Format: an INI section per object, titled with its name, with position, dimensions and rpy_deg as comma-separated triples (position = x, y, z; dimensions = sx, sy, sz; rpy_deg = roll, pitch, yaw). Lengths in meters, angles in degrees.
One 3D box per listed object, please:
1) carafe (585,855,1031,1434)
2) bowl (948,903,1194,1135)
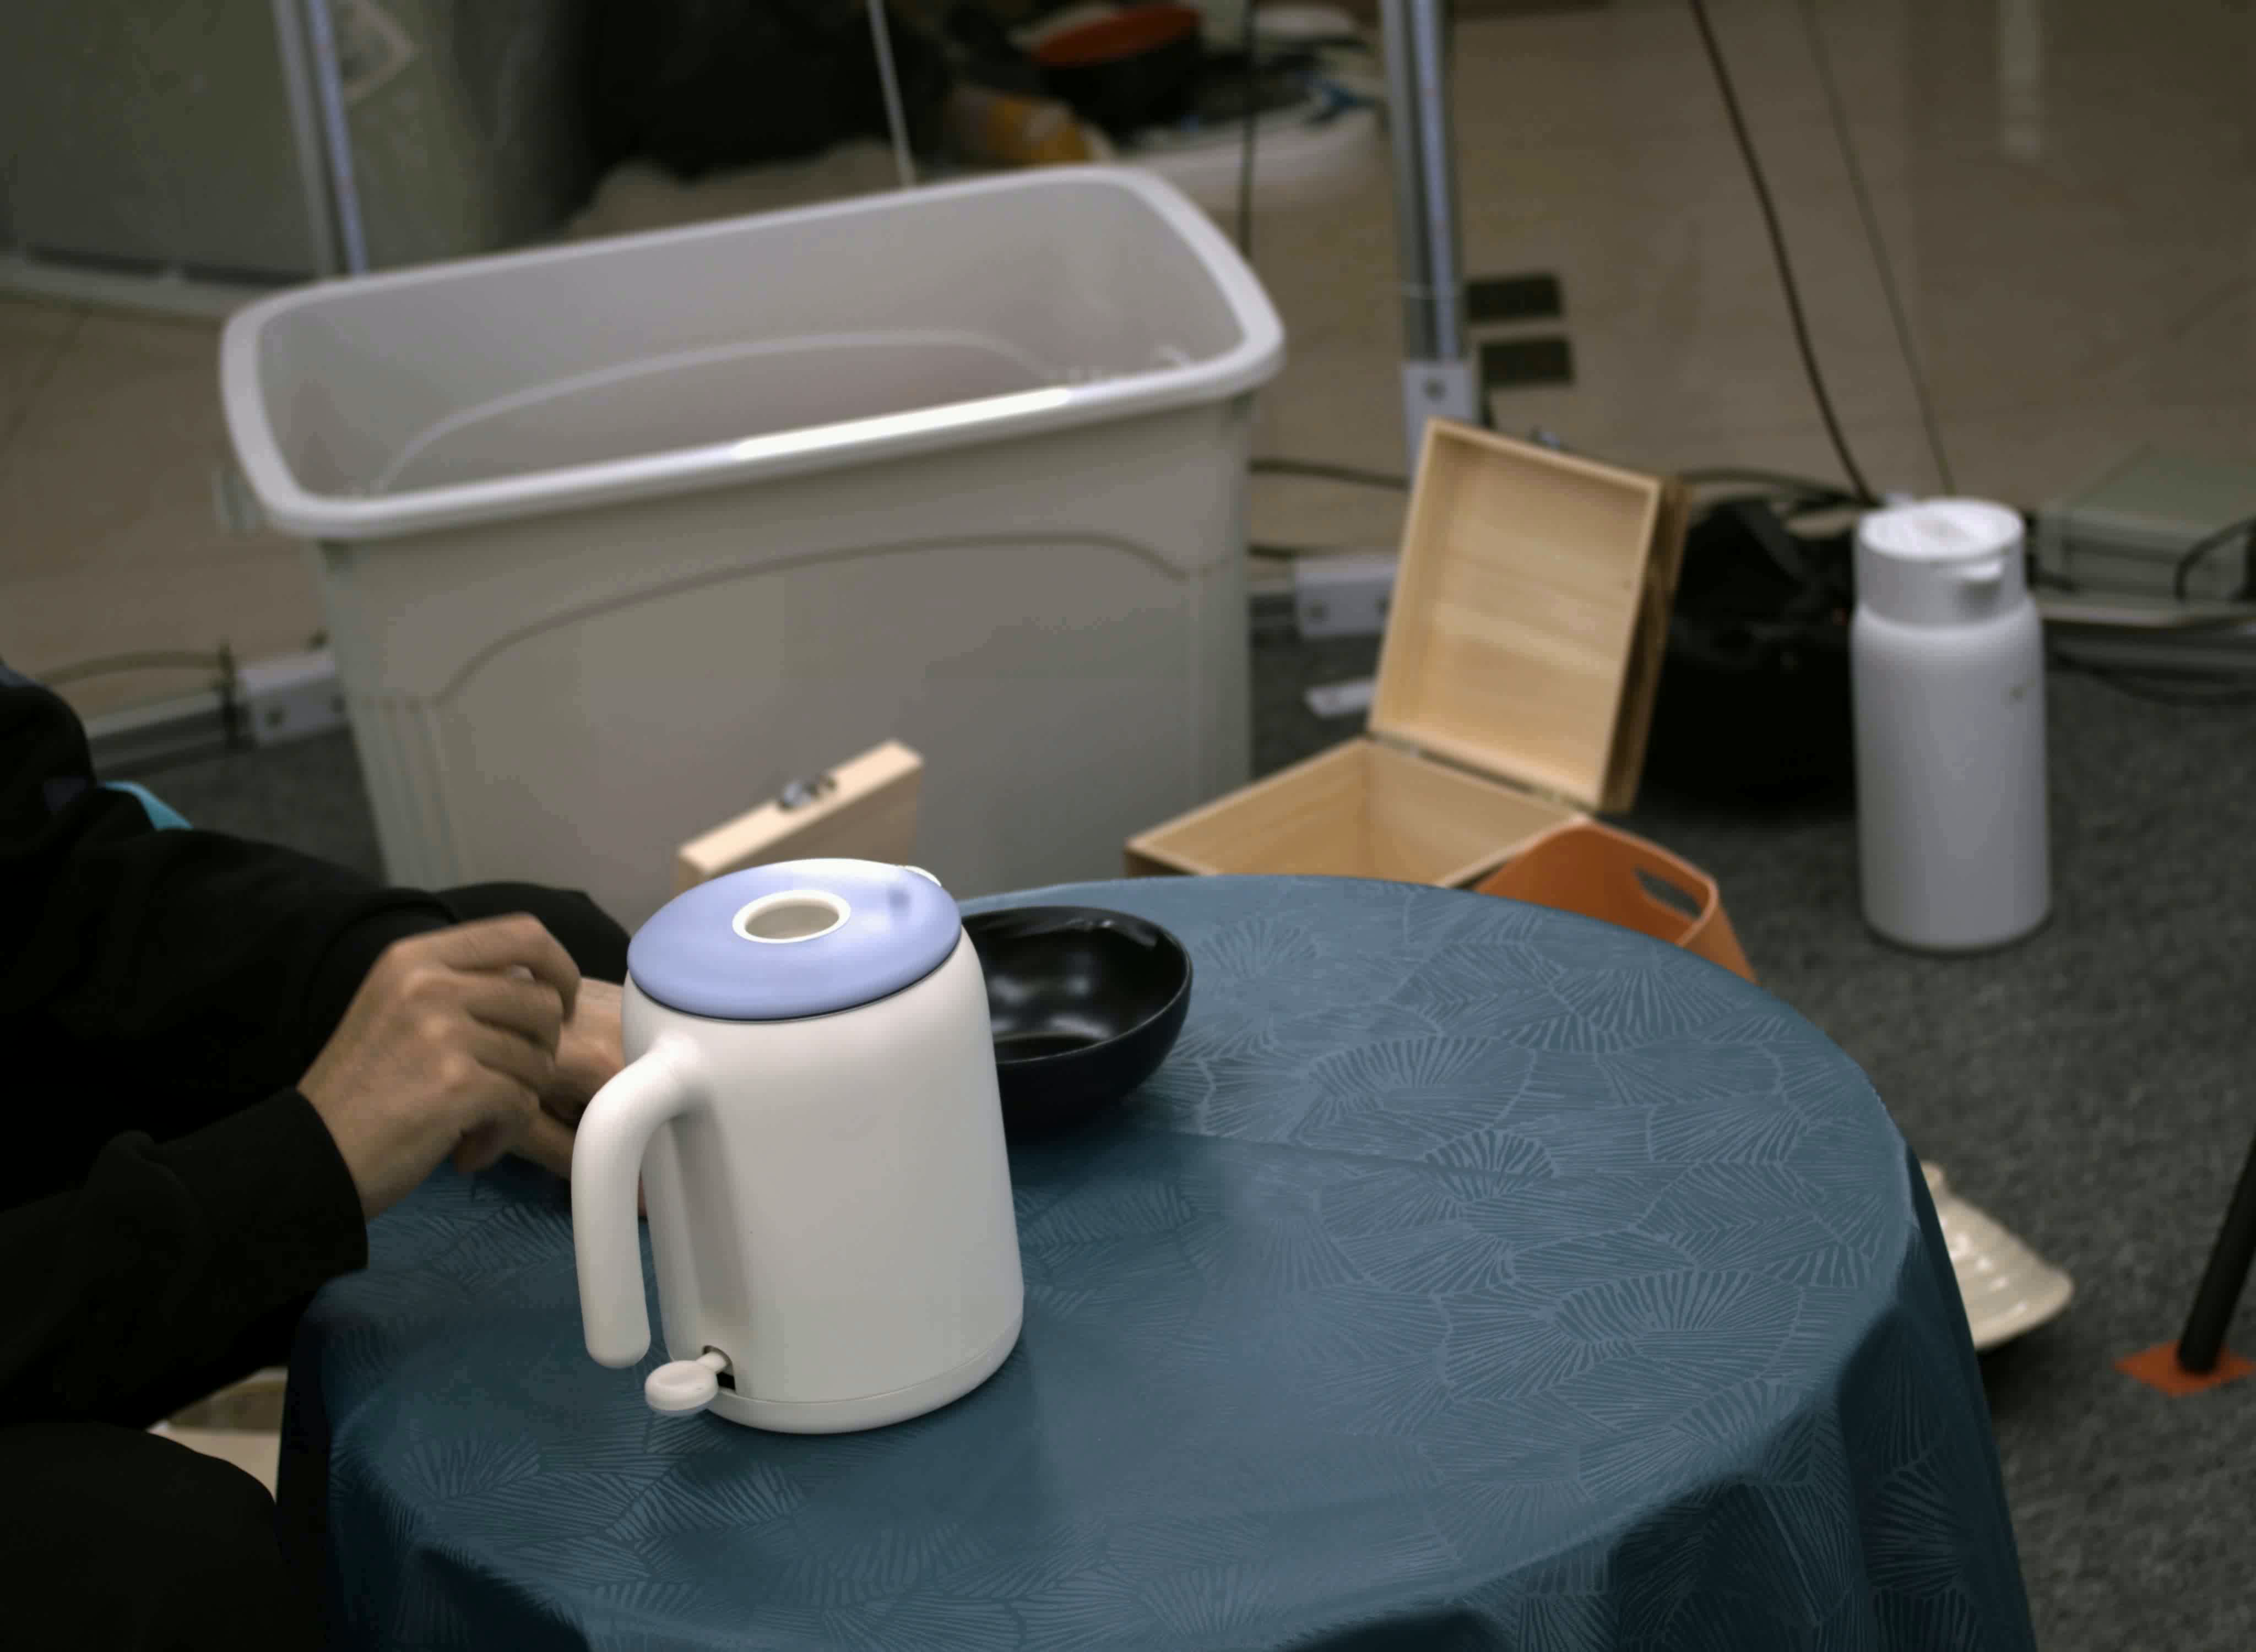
[carafe]
position = -0.123, 0.123, 2.005
dimensions = 0.131, 0.185, 0.189
rpy_deg = 13, 34, 37
[bowl]
position = -0.041, 0.082, 2.217
dimensions = 0.140, 0.050, 0.138
rpy_deg = -6, 26, 3
